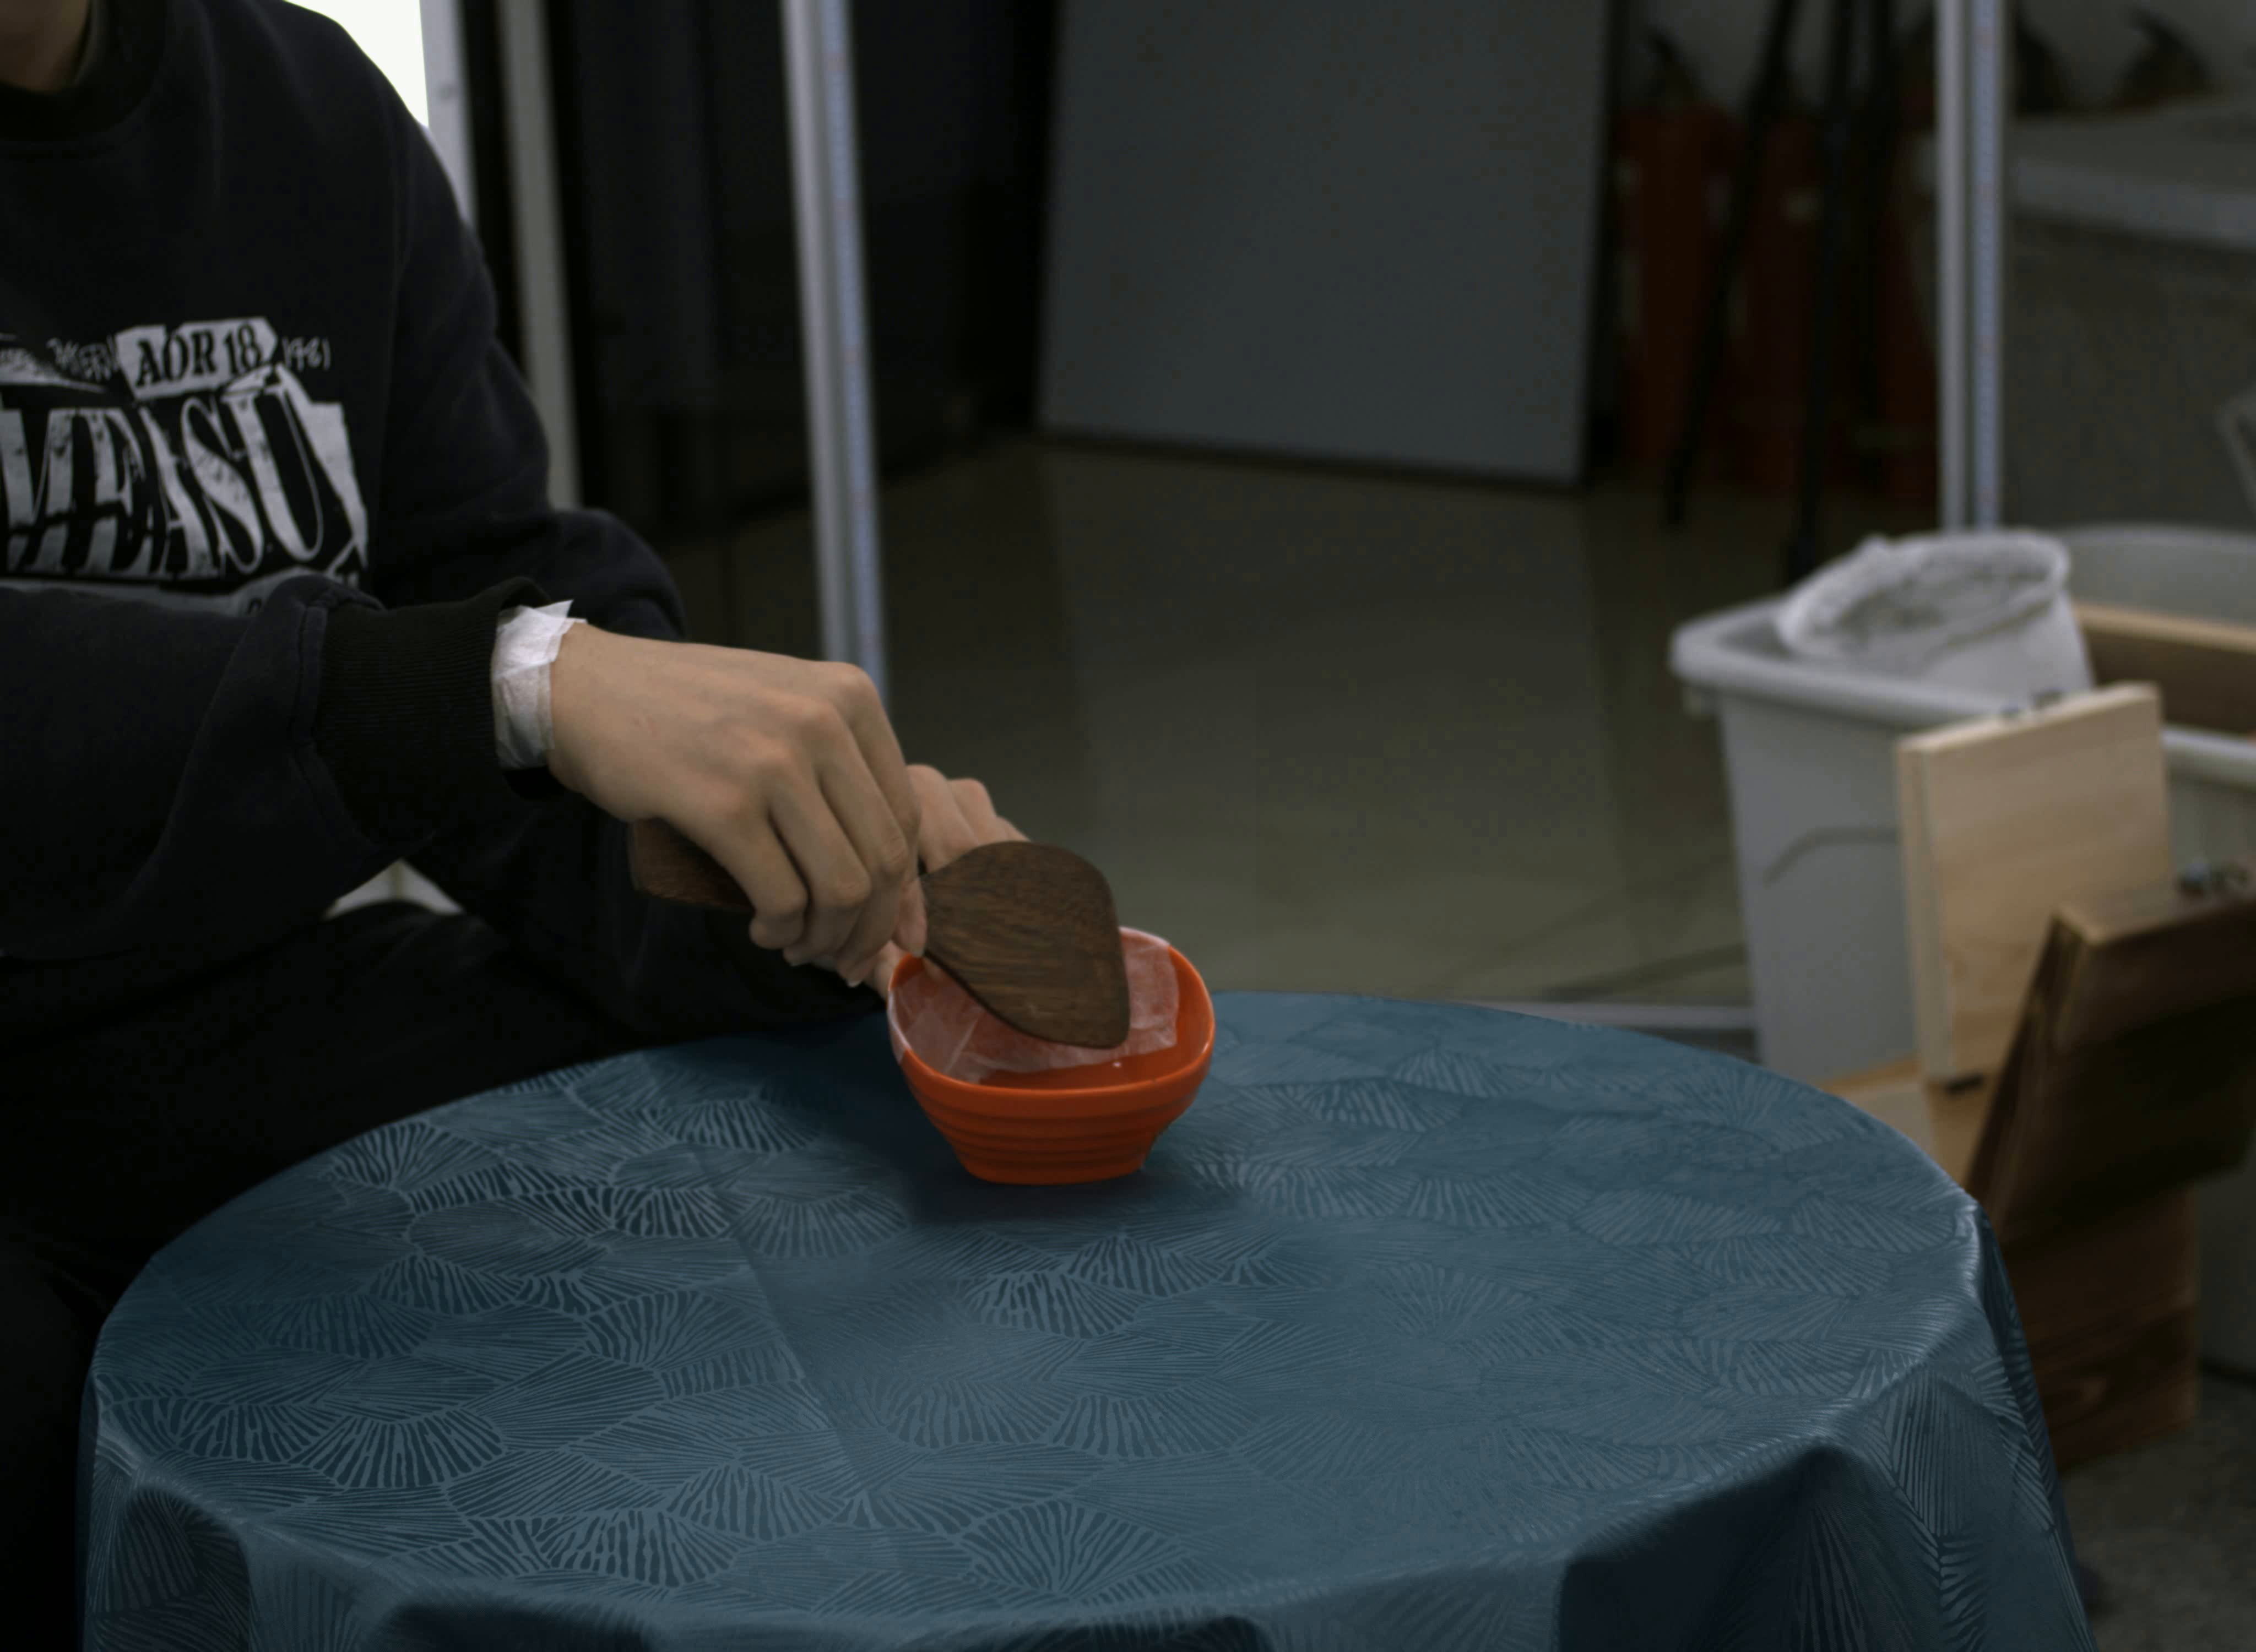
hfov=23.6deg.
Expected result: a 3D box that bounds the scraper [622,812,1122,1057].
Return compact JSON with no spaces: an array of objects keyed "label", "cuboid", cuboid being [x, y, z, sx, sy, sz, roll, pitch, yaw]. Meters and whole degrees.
[{"label":"scraper","cuboid":[-0.082,0.026,1.754,0.206,0.077,0.011,14,-31,-41]}]

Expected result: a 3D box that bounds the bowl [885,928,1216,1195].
[{"label":"bowl","cuboid":[-0.026,0.083,1.799,0.117,0.052,0.119,1,30,-1]}]
